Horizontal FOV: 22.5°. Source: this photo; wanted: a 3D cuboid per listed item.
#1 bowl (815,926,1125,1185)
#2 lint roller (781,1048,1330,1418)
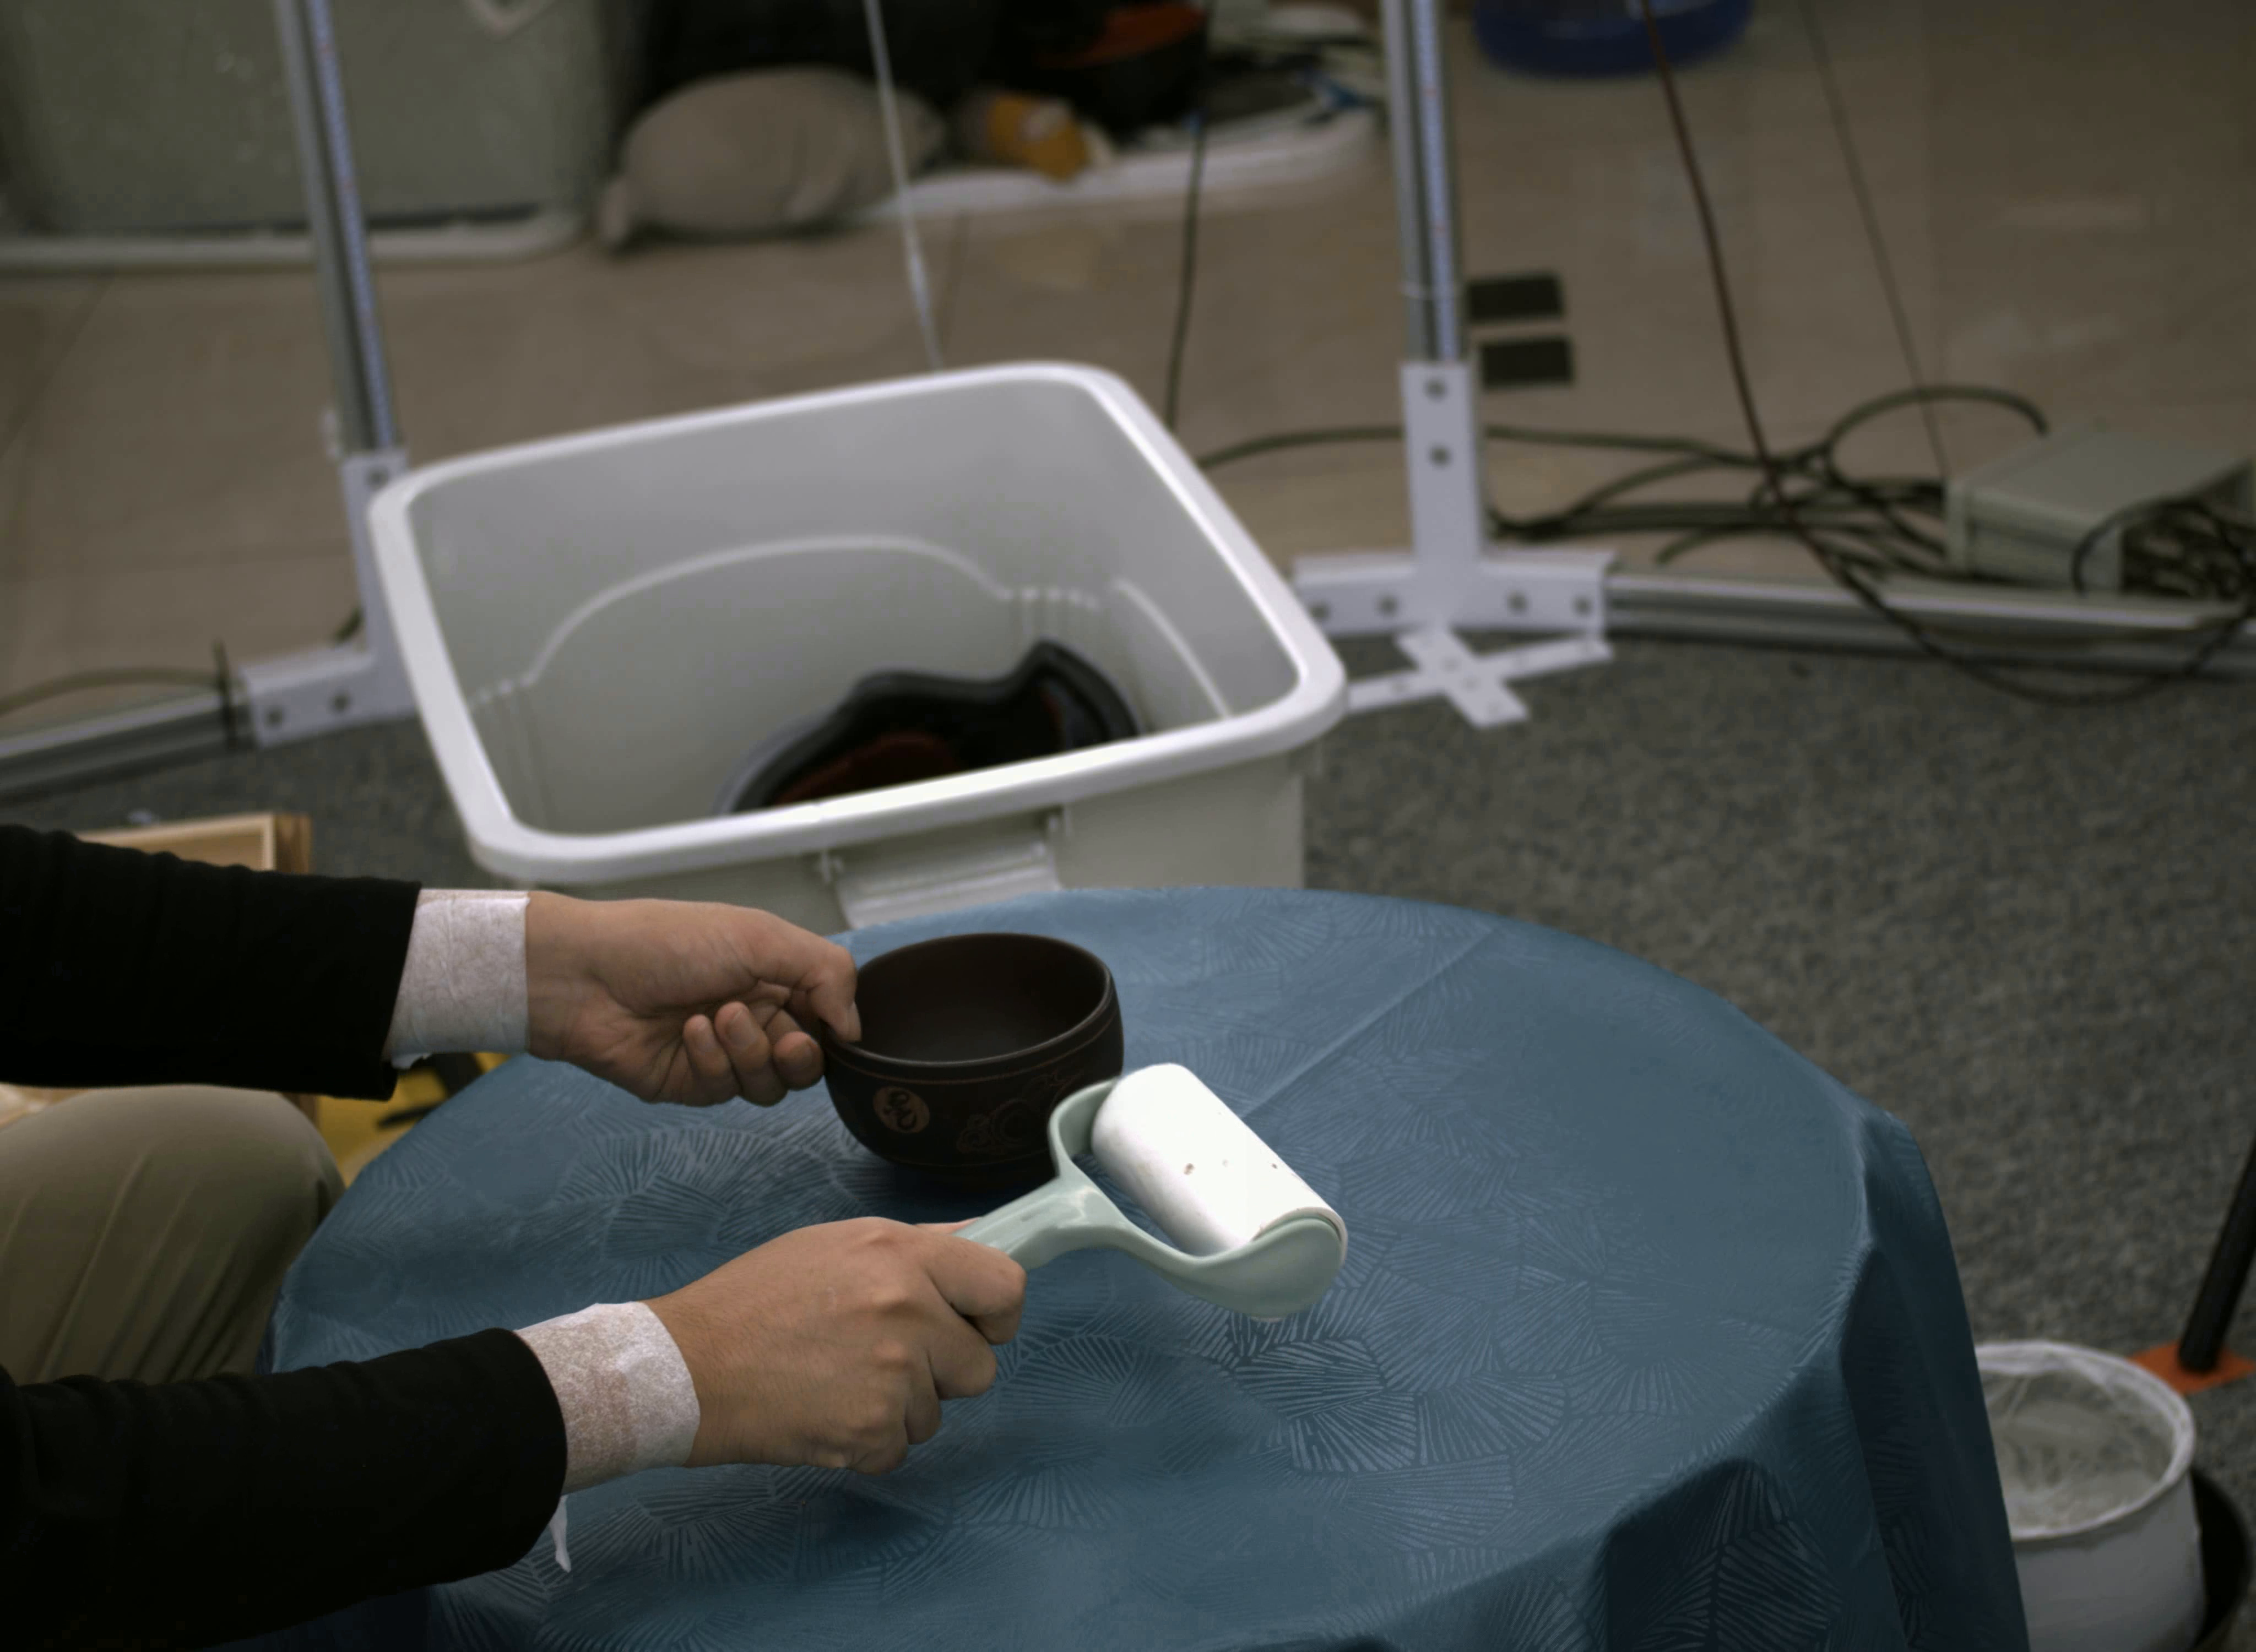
[{"bbox_3d":[-0.058,0.094,2.172,0.118,0.071,0.116,-6,26,3],"label":"bowl"},{"bbox_3d":[-0.037,0.149,1.994,0.196,0.049,0.115,-22,40,-22],"label":"lint roller"}]
